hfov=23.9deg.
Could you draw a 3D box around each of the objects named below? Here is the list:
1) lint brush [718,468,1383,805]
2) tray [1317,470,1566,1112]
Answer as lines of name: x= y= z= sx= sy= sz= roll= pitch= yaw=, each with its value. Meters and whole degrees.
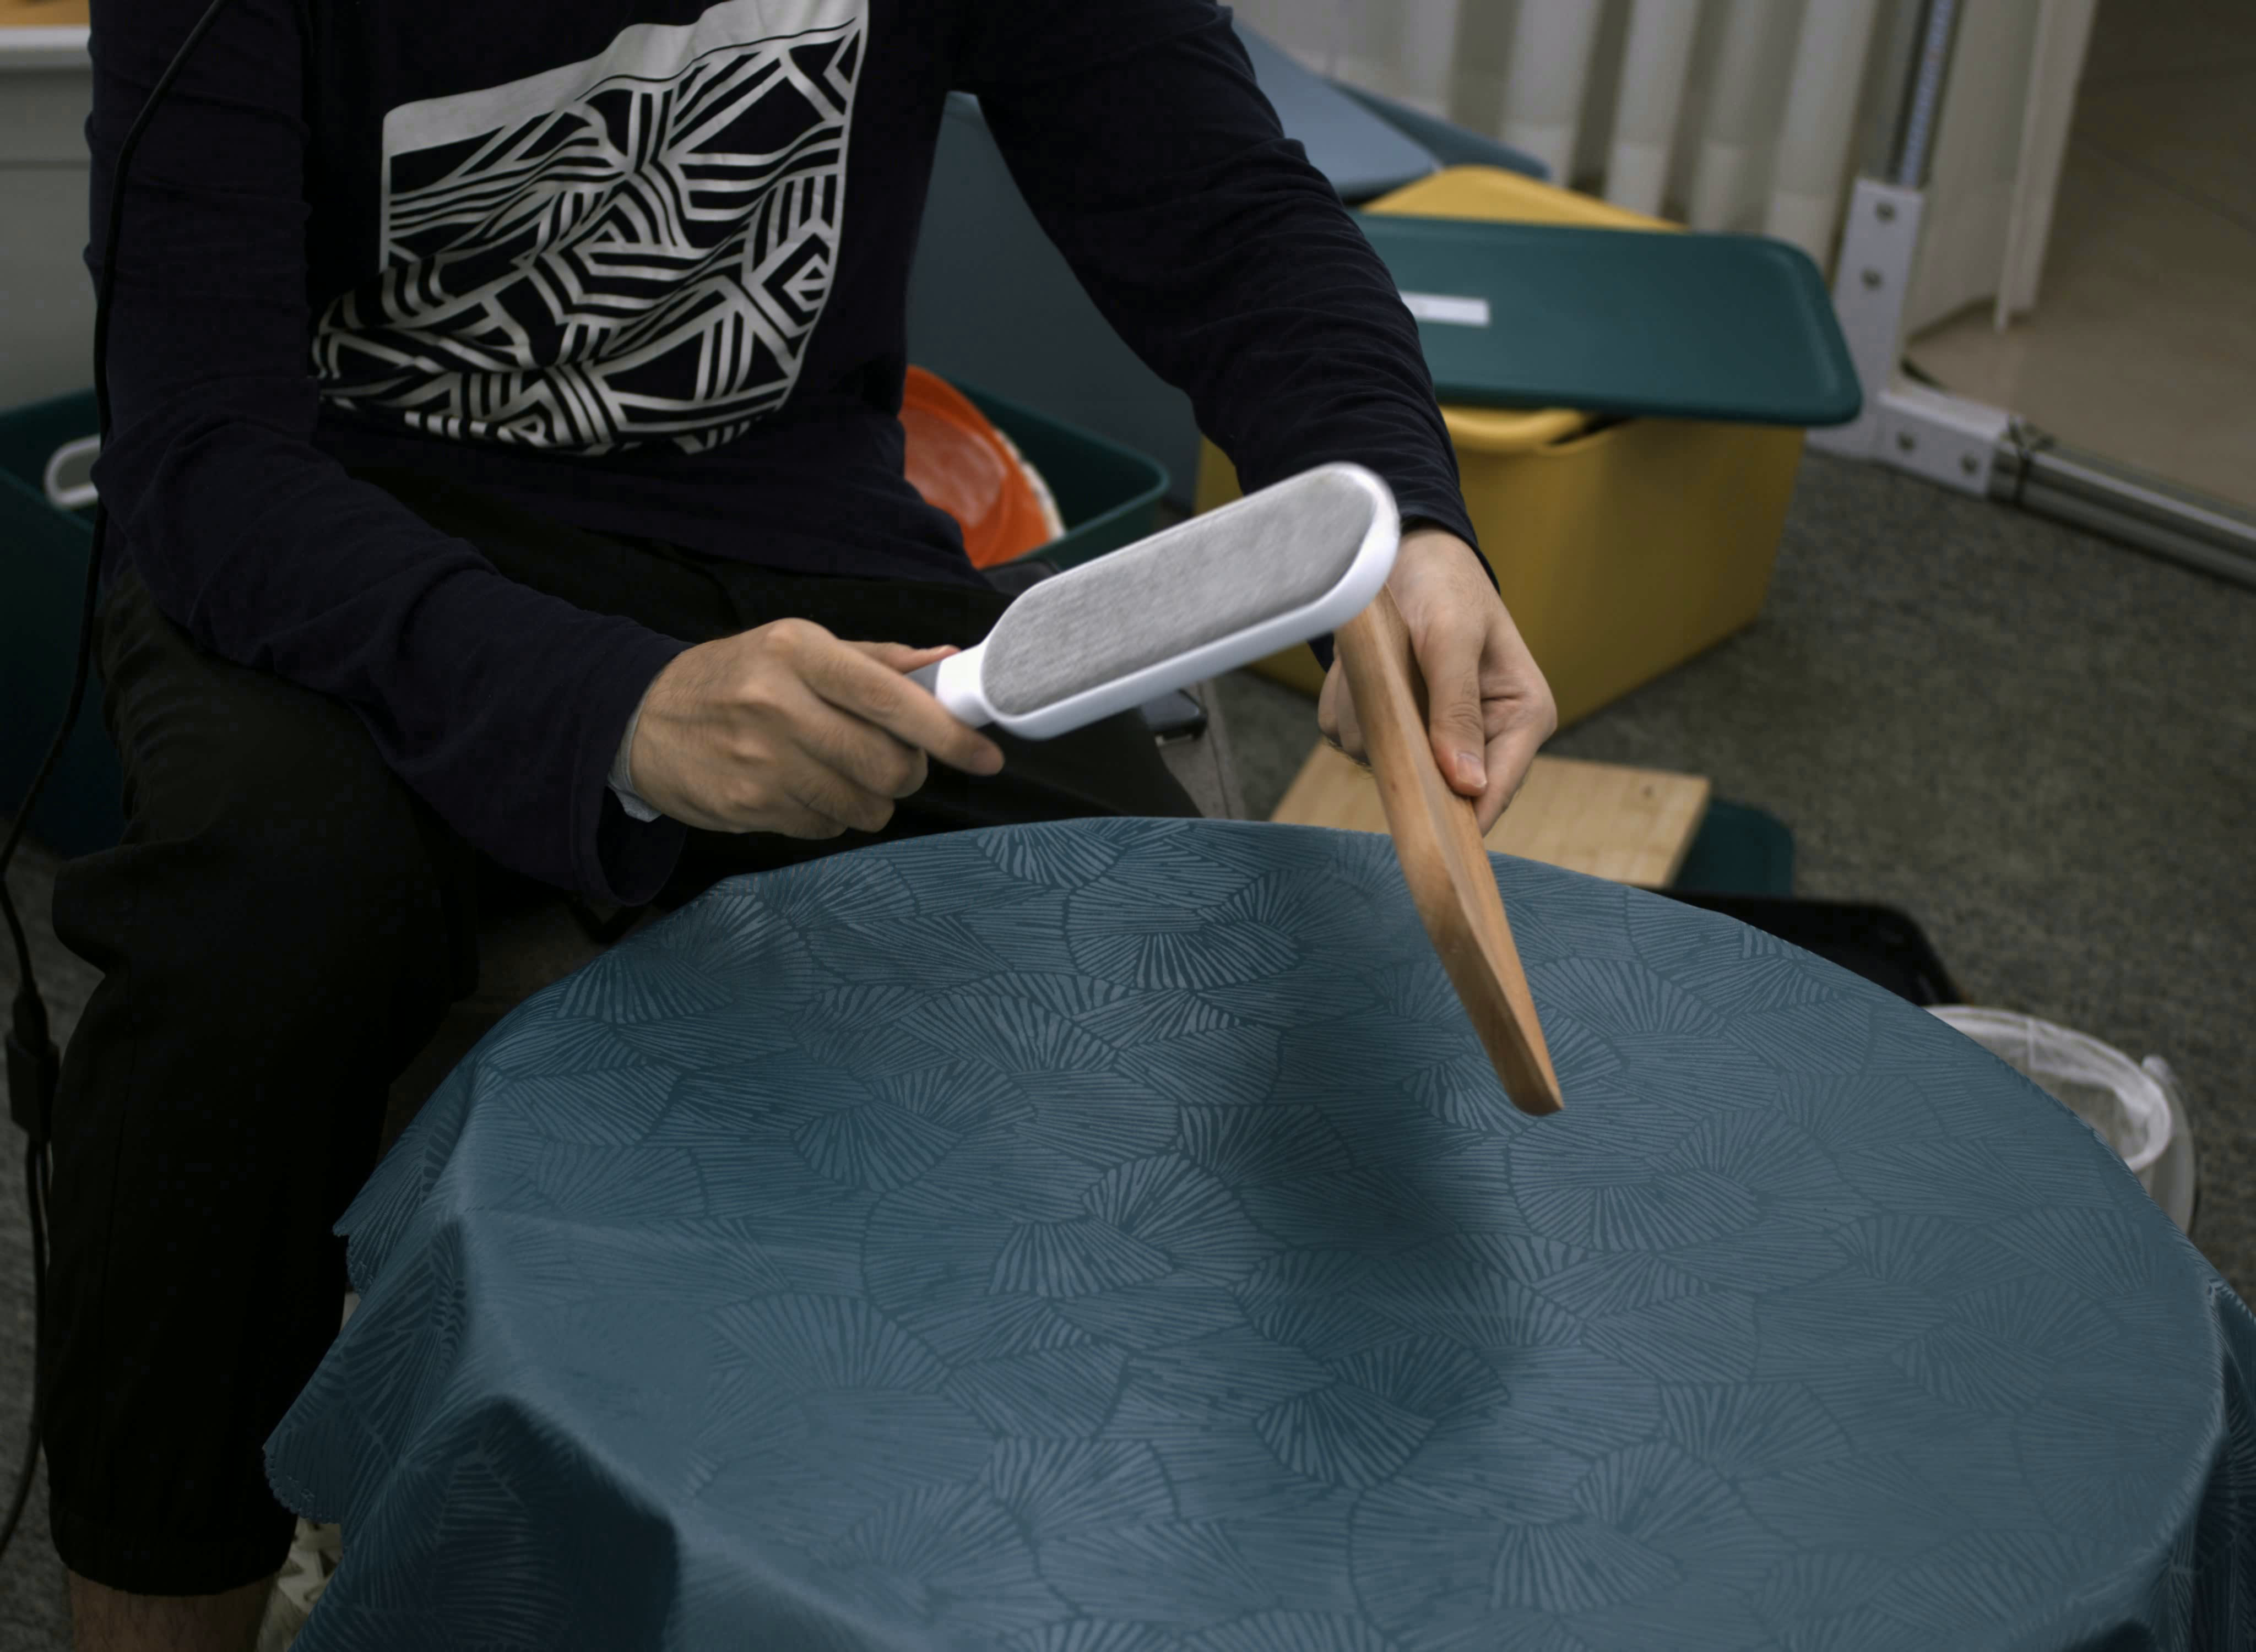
lint brush: x=-0.032 y=-0.057 z=1.803 sx=0.309 sy=0.060 sz=0.021 roll=-19 pitch=-32 yaw=41
tray: x=0.103 y=-0.014 z=1.818 sx=0.023 sy=0.129 sz=0.253 roll=-20 pitch=36 yaw=6
